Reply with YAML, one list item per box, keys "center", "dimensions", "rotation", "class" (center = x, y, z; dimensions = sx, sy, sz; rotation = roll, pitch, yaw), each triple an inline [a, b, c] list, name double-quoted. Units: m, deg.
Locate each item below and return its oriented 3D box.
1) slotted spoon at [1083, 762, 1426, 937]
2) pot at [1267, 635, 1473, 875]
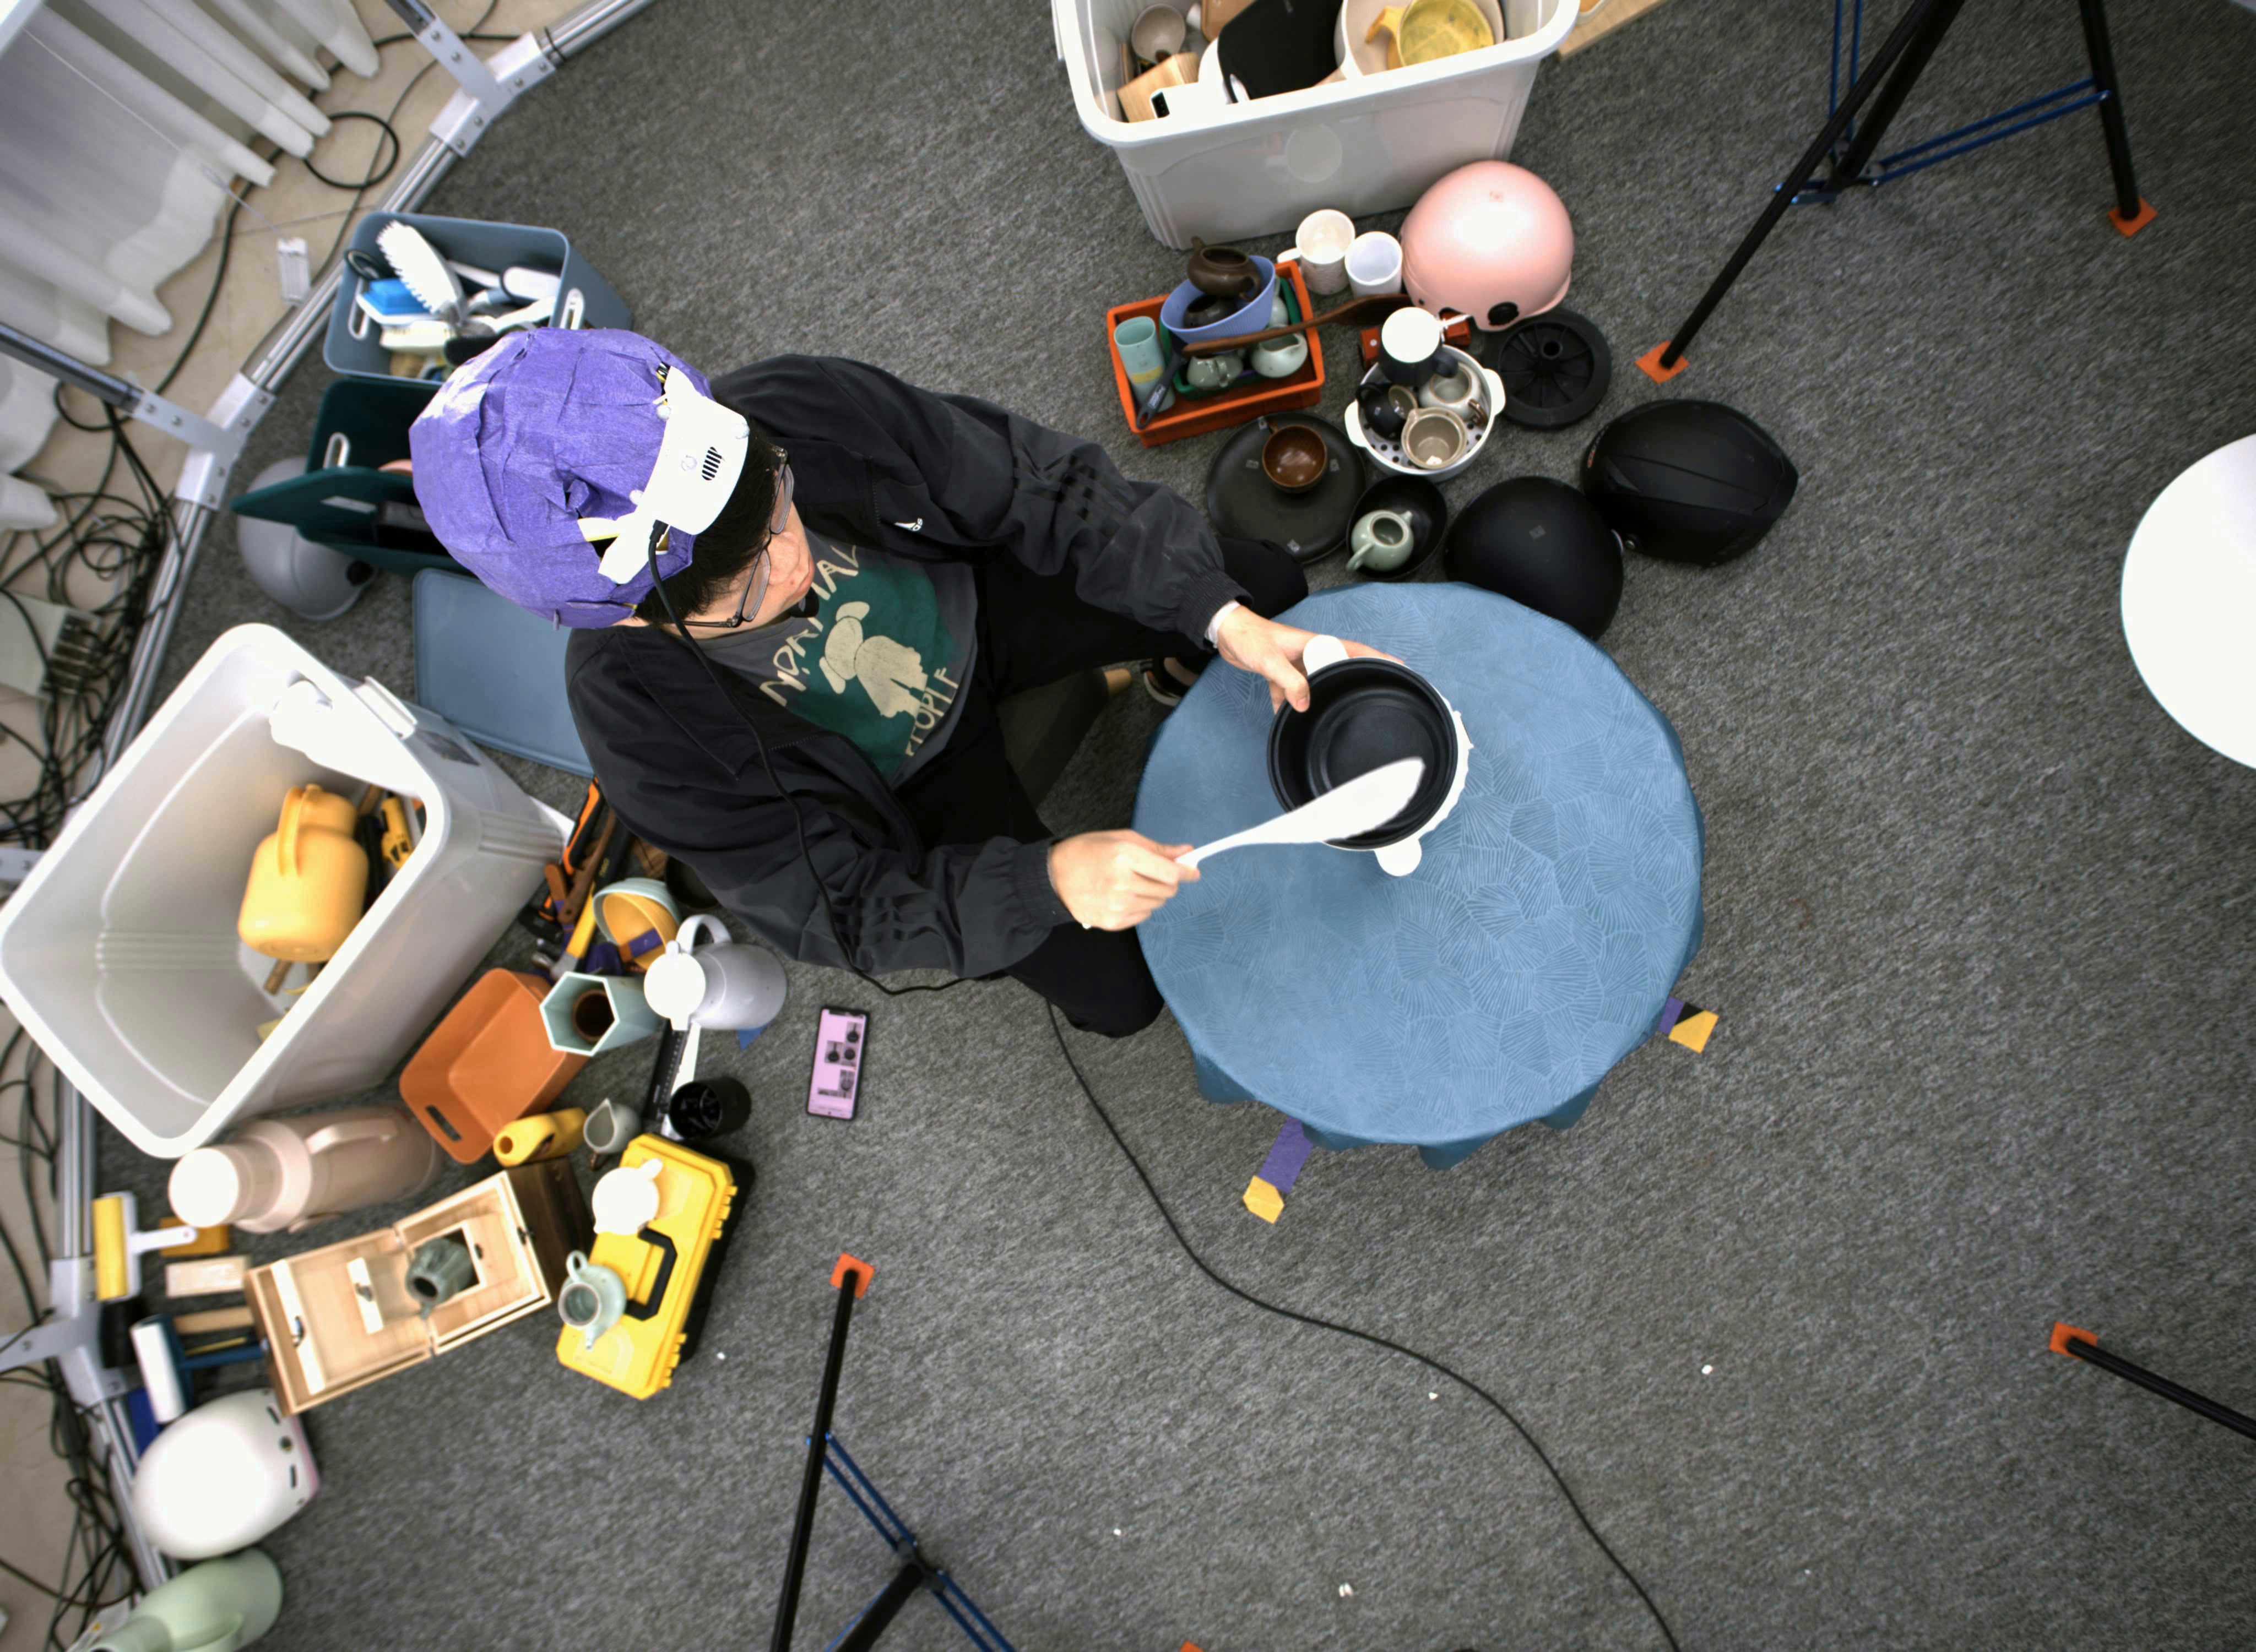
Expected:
- center: [0.111, 0.023, 1.259]
  dimensions: [0.351, 0.135, 0.050]
  rotation: [-20, 93, 16]
  class: "slotted spoon"
- center: [0.236, -0.064, 1.344]
  dimensions: [0.192, 0.142, 0.239]
  rotation: [-22, 82, 17]
  class: "pot"
